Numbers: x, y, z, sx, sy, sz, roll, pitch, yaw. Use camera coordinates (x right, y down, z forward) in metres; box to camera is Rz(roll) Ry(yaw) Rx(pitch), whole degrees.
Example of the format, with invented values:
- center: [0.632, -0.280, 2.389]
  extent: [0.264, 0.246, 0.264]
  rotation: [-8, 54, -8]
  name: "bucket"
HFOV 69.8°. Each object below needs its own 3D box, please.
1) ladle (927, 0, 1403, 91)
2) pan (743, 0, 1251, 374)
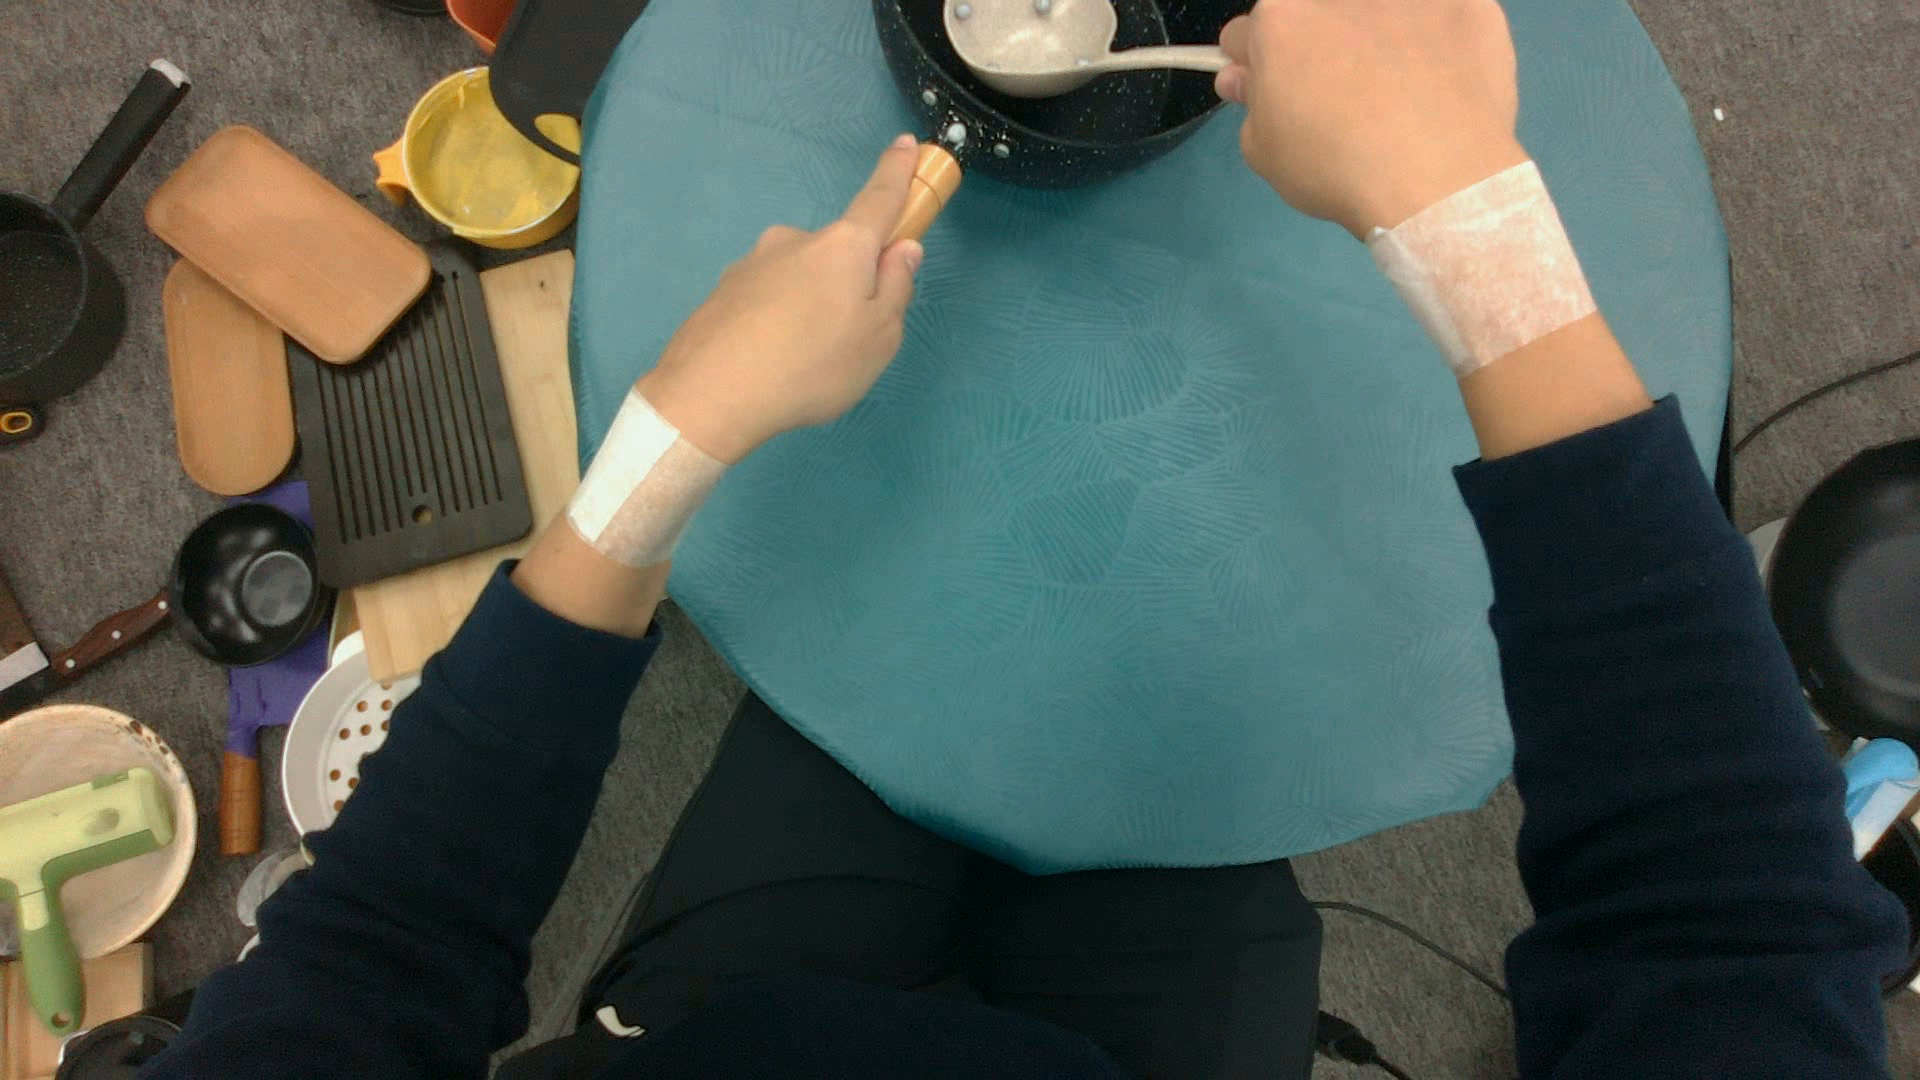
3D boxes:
- center: [0.080, -0.229, 0.584]
  extent: [0.089, 0.275, 0.069]
  rotation: [-21, 116, -24]
  name: "ladle"
- center: [0.001, -0.201, 0.633]
  extent: [0.207, 0.108, 0.344]
  rotation: [32, 73, -6]
  name: "pan"
